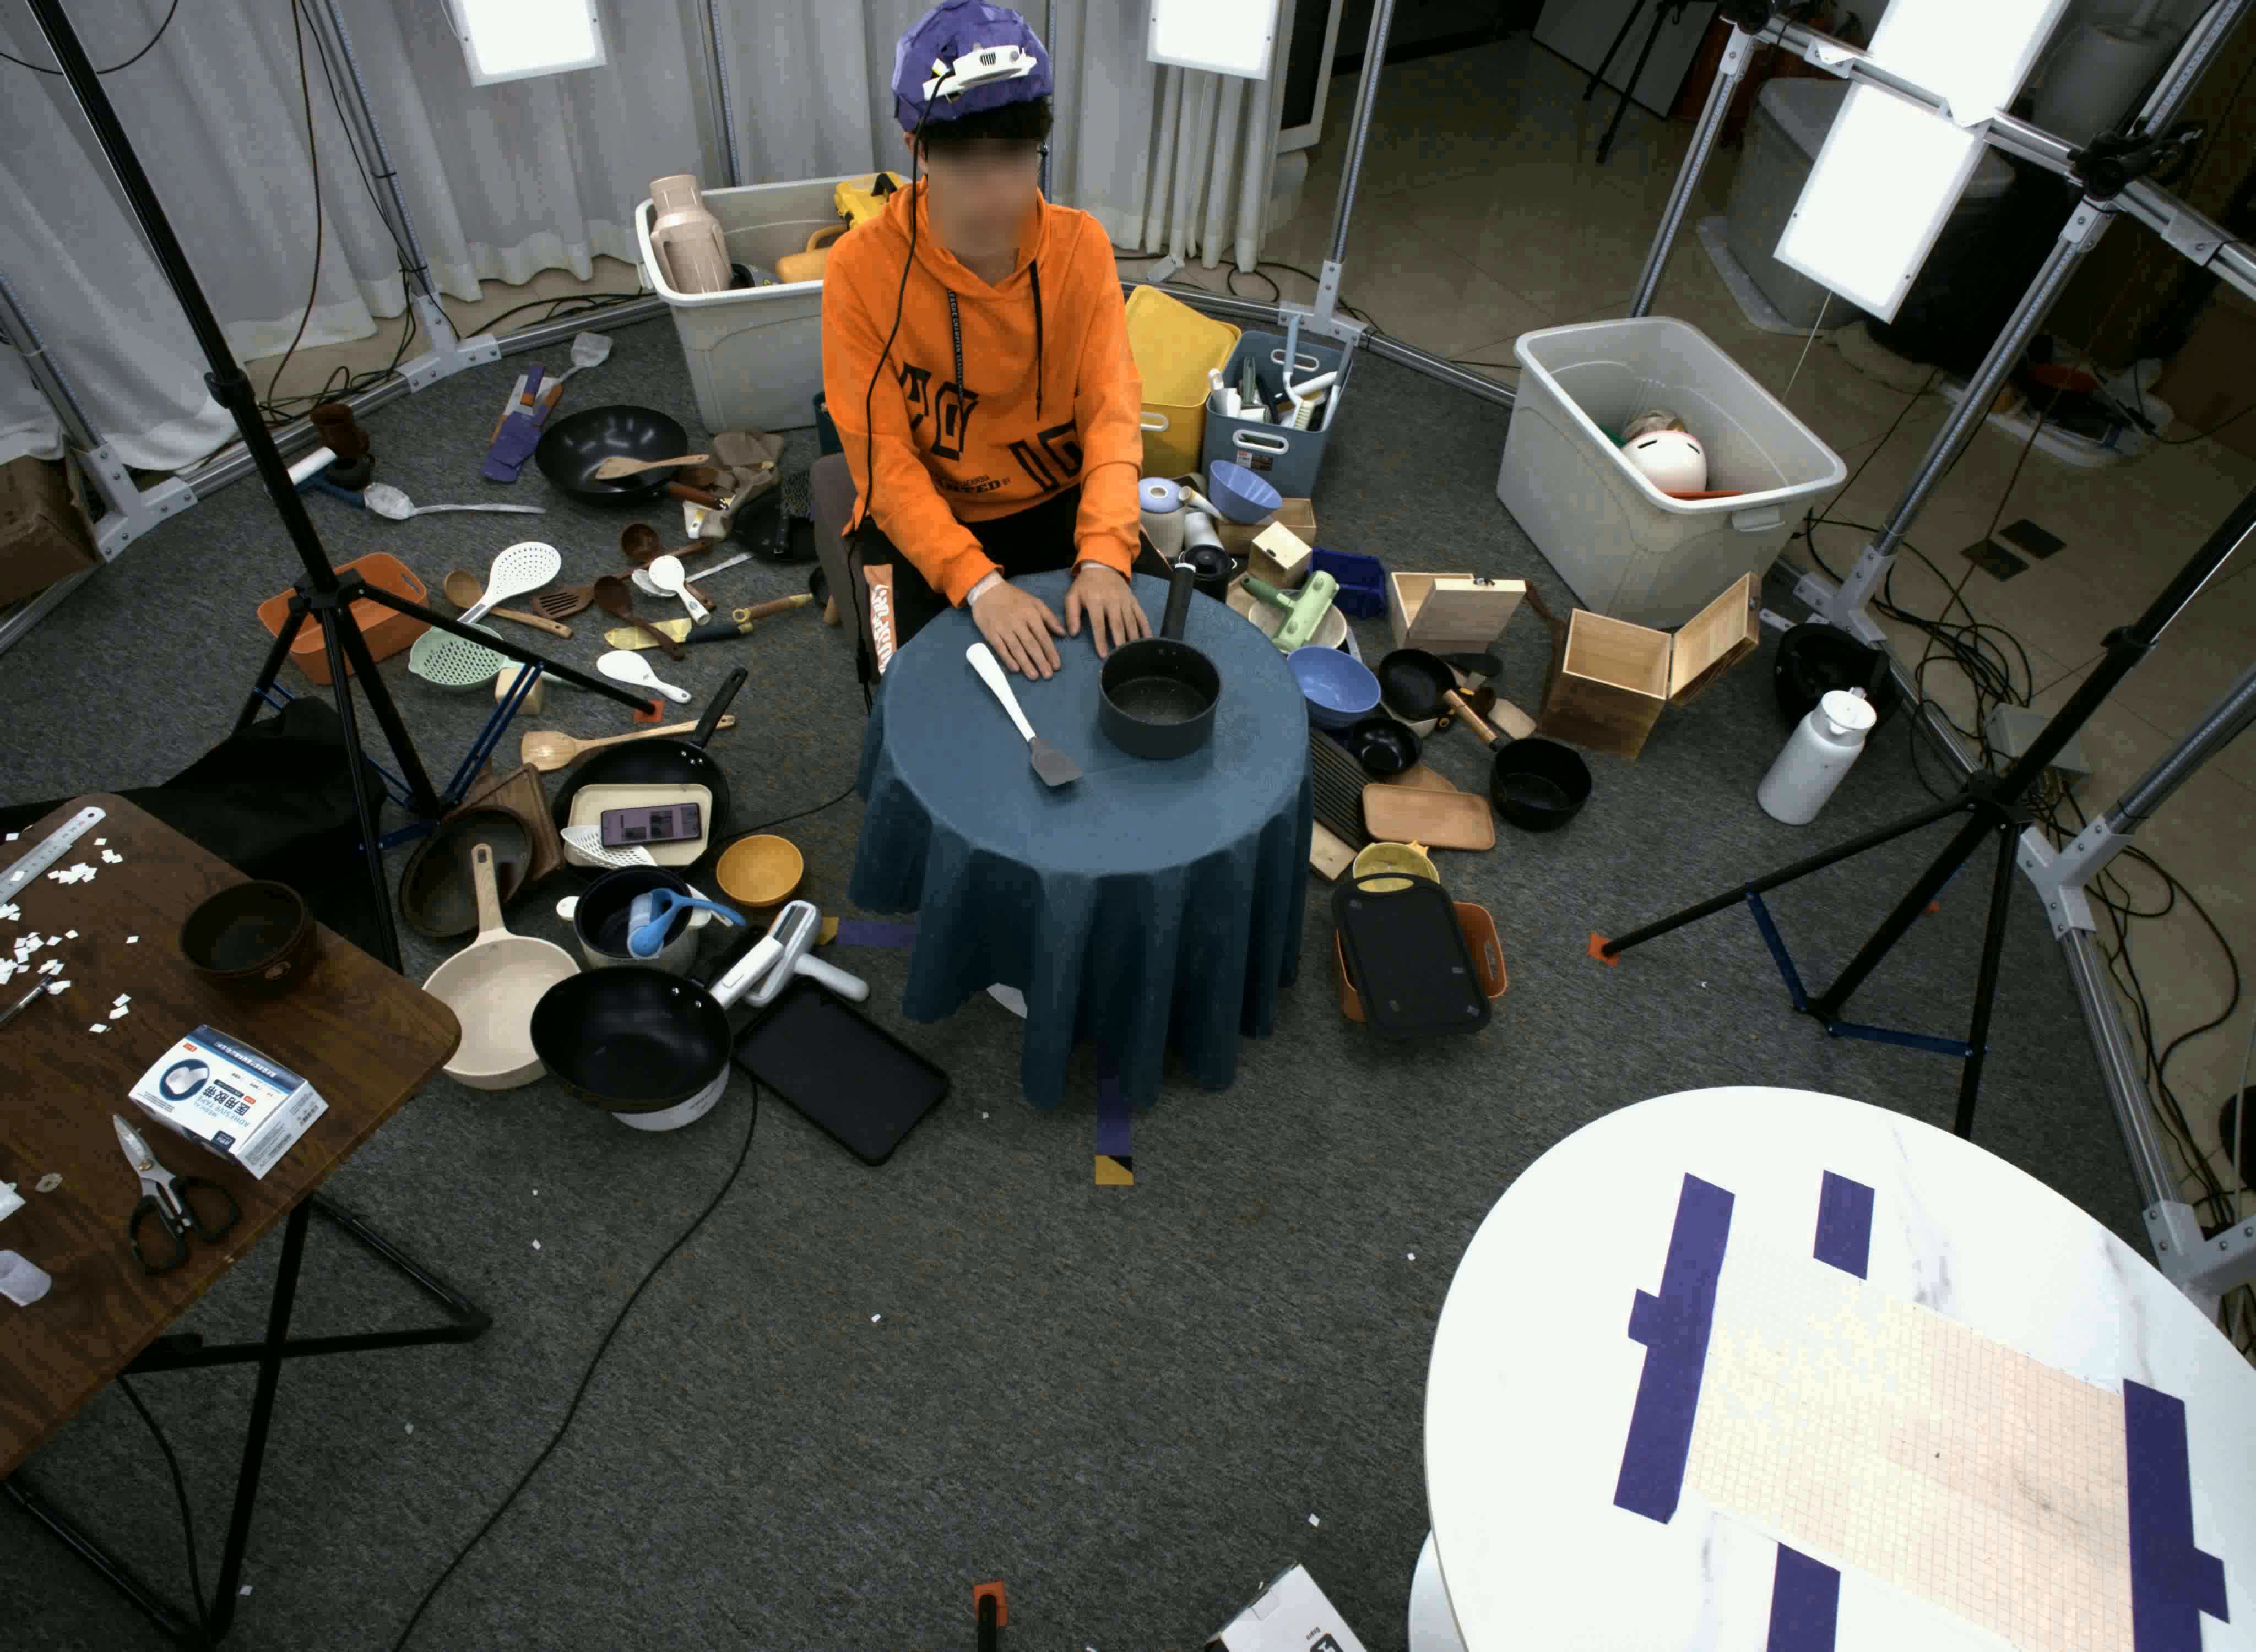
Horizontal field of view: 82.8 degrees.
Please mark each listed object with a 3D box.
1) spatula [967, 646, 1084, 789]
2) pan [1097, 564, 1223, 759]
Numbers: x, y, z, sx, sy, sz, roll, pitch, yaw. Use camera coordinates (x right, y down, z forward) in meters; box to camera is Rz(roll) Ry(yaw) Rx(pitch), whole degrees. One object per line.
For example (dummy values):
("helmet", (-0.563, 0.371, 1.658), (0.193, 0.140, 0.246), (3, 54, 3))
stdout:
("spatula", (-0.147, -0.149, 1.767), (0.059, 0.031, 0.294), (-17, 52, -24))
("pan", (0.059, -0.238, 1.824), (0.172, 0.084, 0.336), (12, 51, 5))
